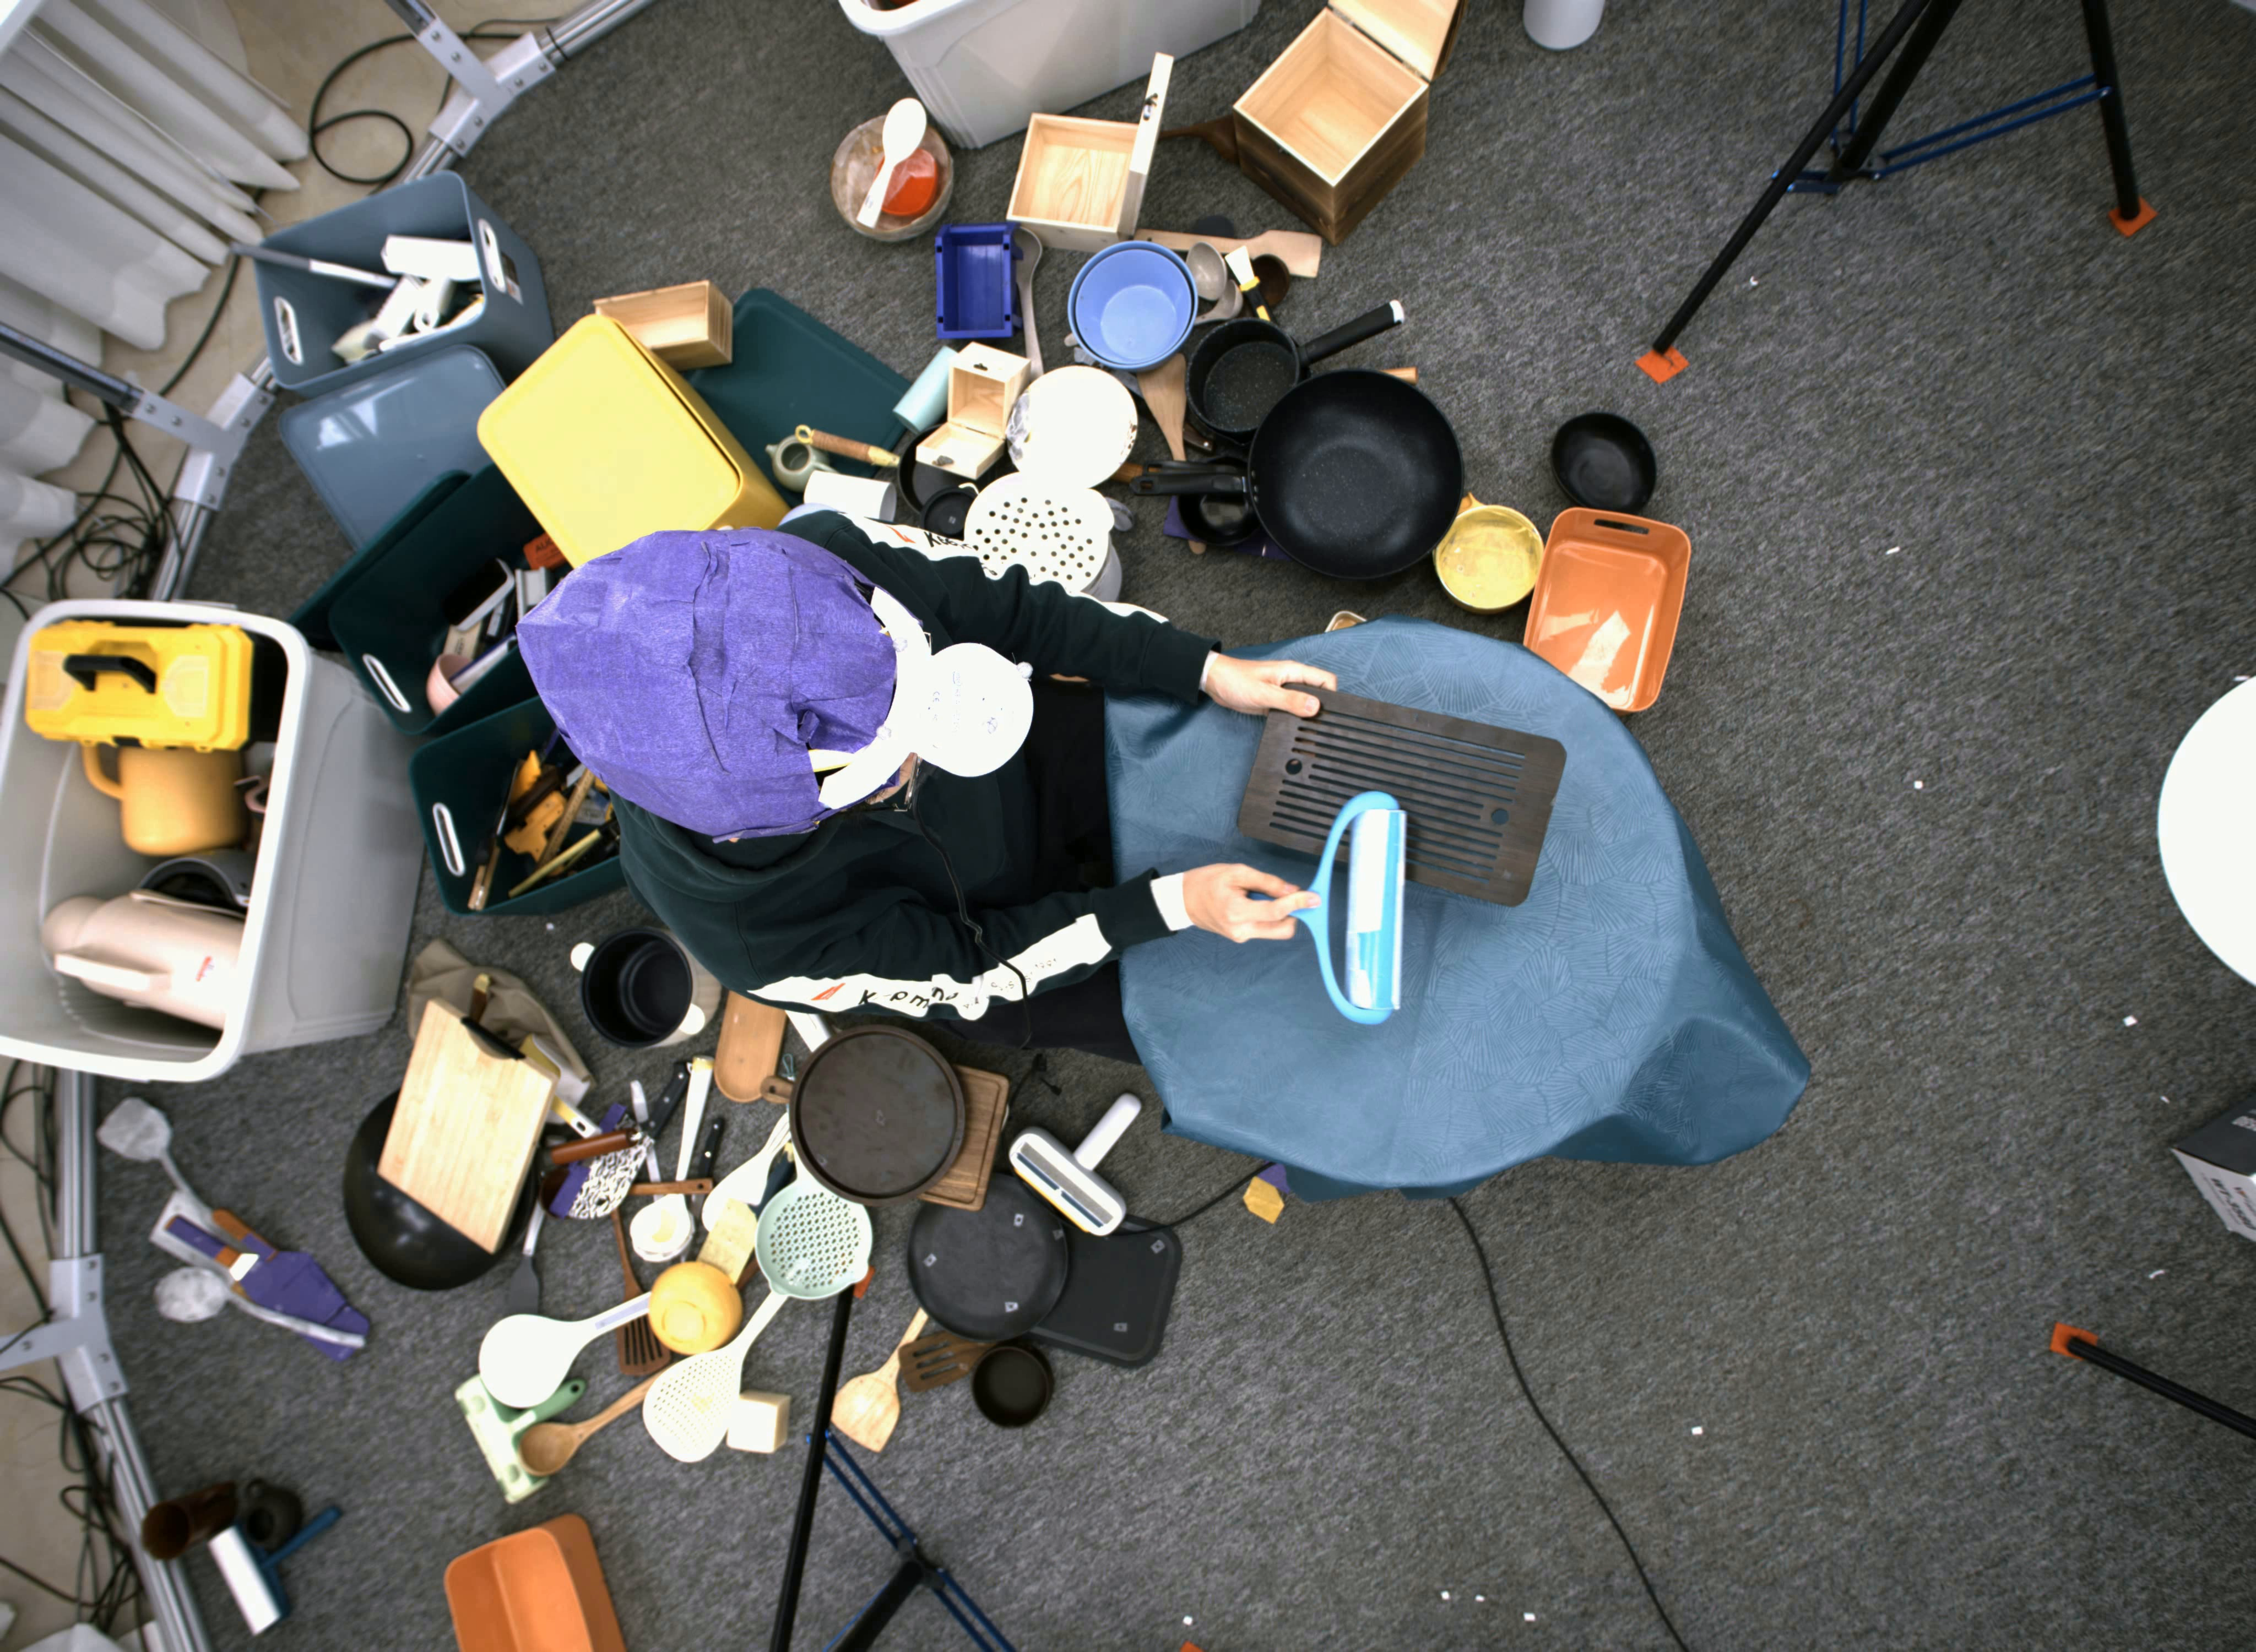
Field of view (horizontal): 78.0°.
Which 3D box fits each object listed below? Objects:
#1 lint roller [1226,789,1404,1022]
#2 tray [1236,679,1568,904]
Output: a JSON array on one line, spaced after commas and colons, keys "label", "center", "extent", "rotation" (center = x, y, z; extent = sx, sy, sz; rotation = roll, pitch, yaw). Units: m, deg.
[{"label": "lint roller", "center": [0.182, 0.078, 1.362], "extent": [0.181, 0.067, 0.230], "rotation": [-1, 96, 12]}, {"label": "tray", "center": [0.270, -0.040, 1.381], "extent": [0.306, 0.018, 0.170], "rotation": [15, 89, 23]}]
